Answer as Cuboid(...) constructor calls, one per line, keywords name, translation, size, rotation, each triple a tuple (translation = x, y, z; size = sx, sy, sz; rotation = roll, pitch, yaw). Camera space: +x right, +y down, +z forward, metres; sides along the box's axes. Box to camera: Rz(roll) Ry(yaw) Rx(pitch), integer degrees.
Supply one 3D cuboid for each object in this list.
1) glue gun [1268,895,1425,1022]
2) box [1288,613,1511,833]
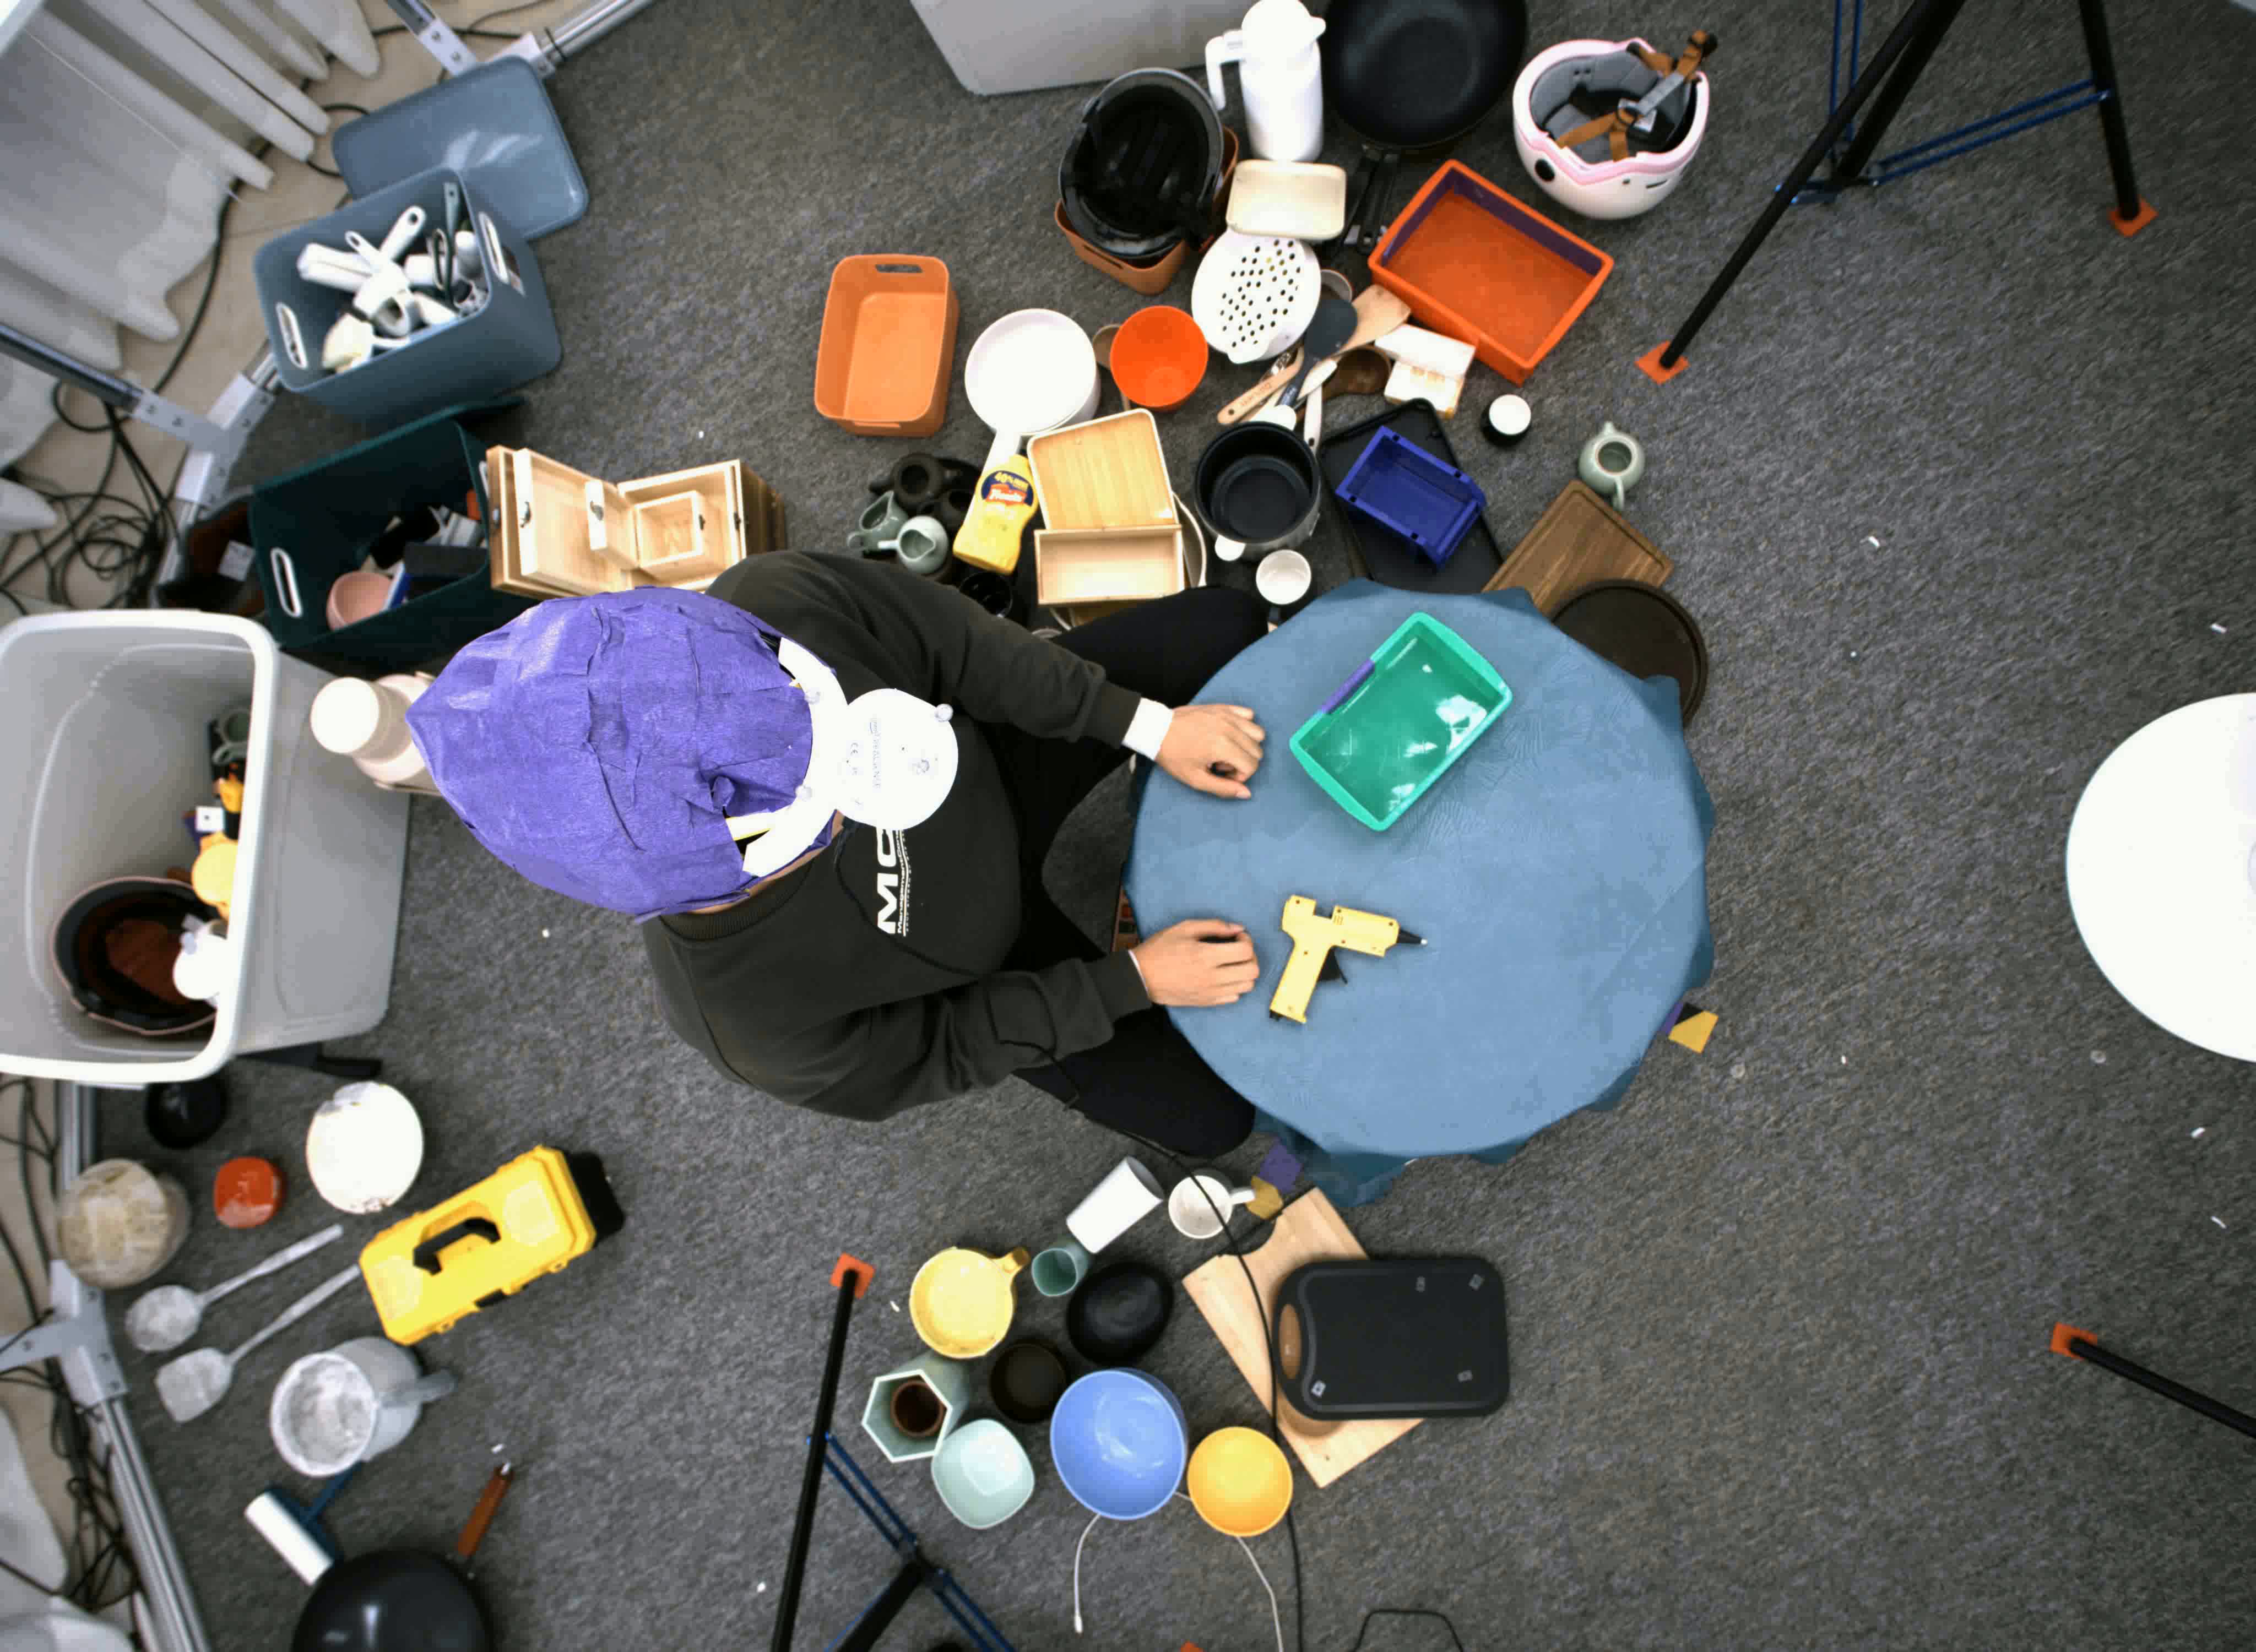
Cuboid(name="glue gun", translation=(0.230, 0.147, 1.449), size=(0.152, 0.031, 0.133), rotation=(8, 89, 12))
Cuboid(name="box", translation=(0.282, -0.105, 1.435), size=(0.138, 0.065, 0.211), rotation=(44, 96, 12))
